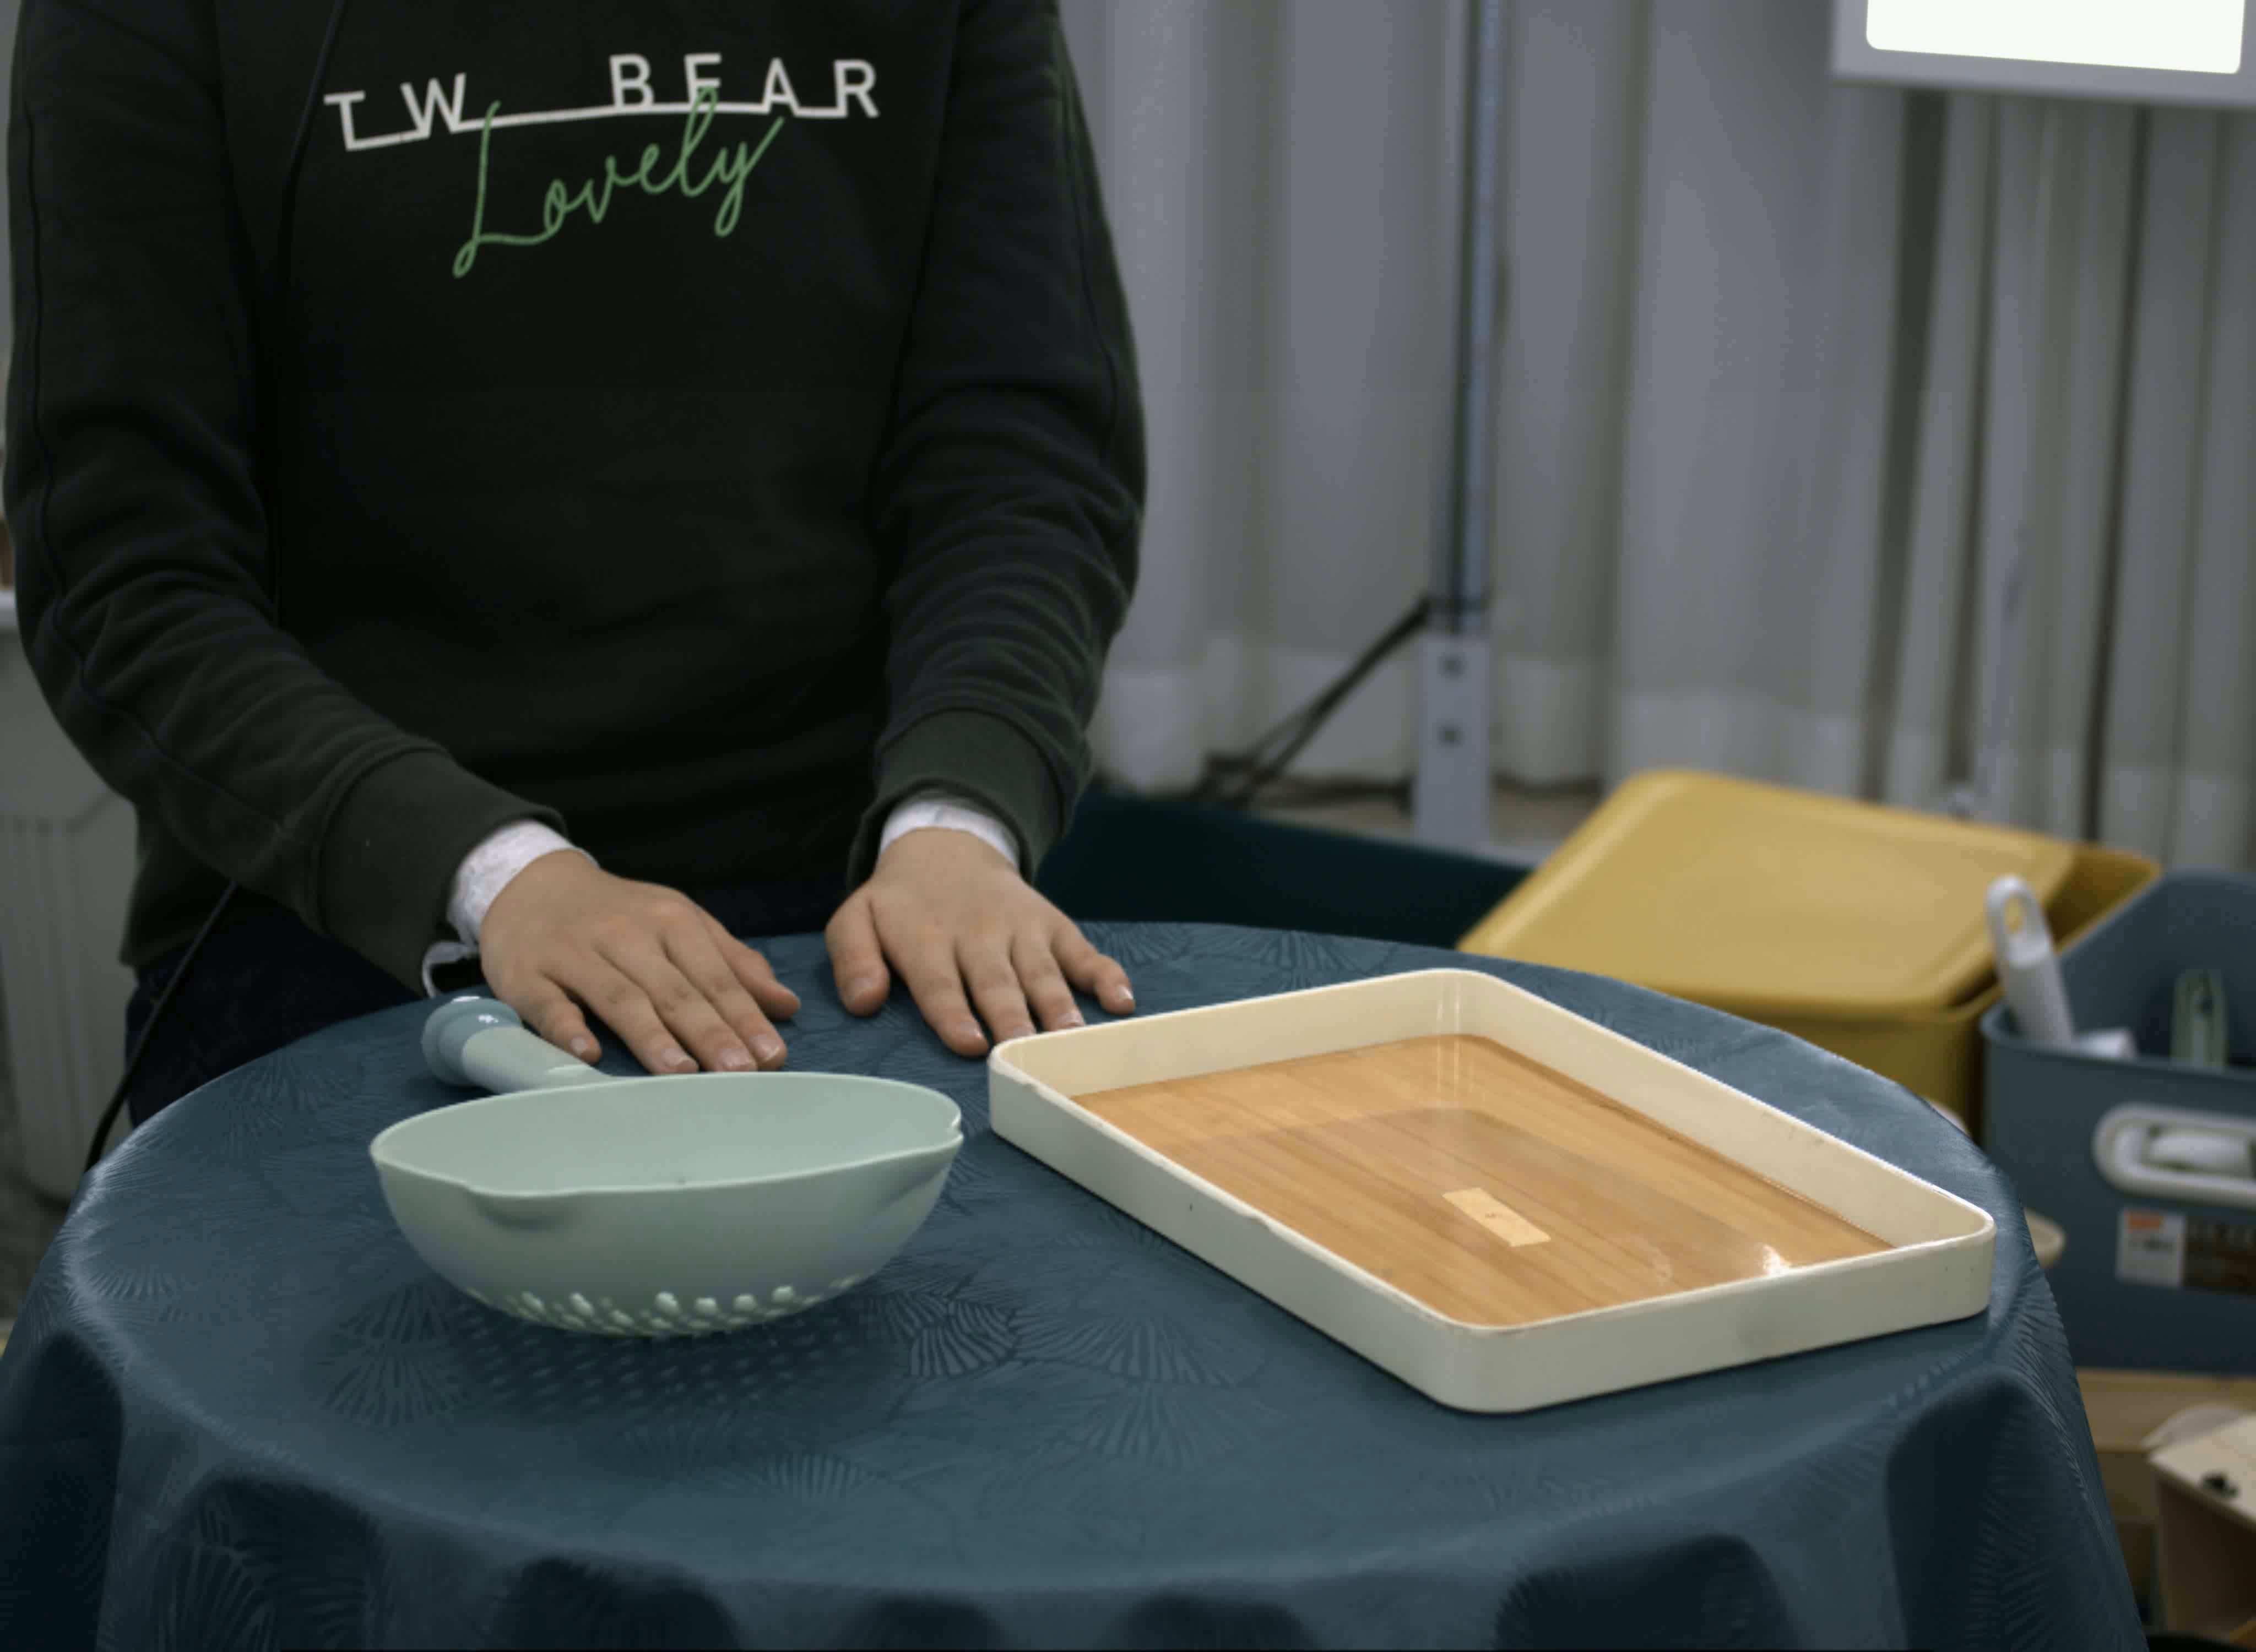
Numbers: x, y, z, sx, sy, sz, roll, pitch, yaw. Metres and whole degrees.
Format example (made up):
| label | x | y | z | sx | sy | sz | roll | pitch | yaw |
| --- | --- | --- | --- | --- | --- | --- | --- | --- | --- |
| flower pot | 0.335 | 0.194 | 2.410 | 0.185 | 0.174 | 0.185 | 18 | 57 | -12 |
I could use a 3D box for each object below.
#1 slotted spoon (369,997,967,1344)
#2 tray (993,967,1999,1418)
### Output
| label | x | y | z | sx | sy | sz | roll | pitch | yaw |
| --- | --- | --- | --- | --- | --- | --- | --- | --- | --- |
| slotted spoon | -0.164 | 0.087 | 1.590 | 0.170 | 0.076 | 0.355 | -5 | 17 | -20 |
| tray | 0.105 | 0.106 | 1.606 | 0.192 | 0.027 | 0.296 | -8 | 18 | -28 |
